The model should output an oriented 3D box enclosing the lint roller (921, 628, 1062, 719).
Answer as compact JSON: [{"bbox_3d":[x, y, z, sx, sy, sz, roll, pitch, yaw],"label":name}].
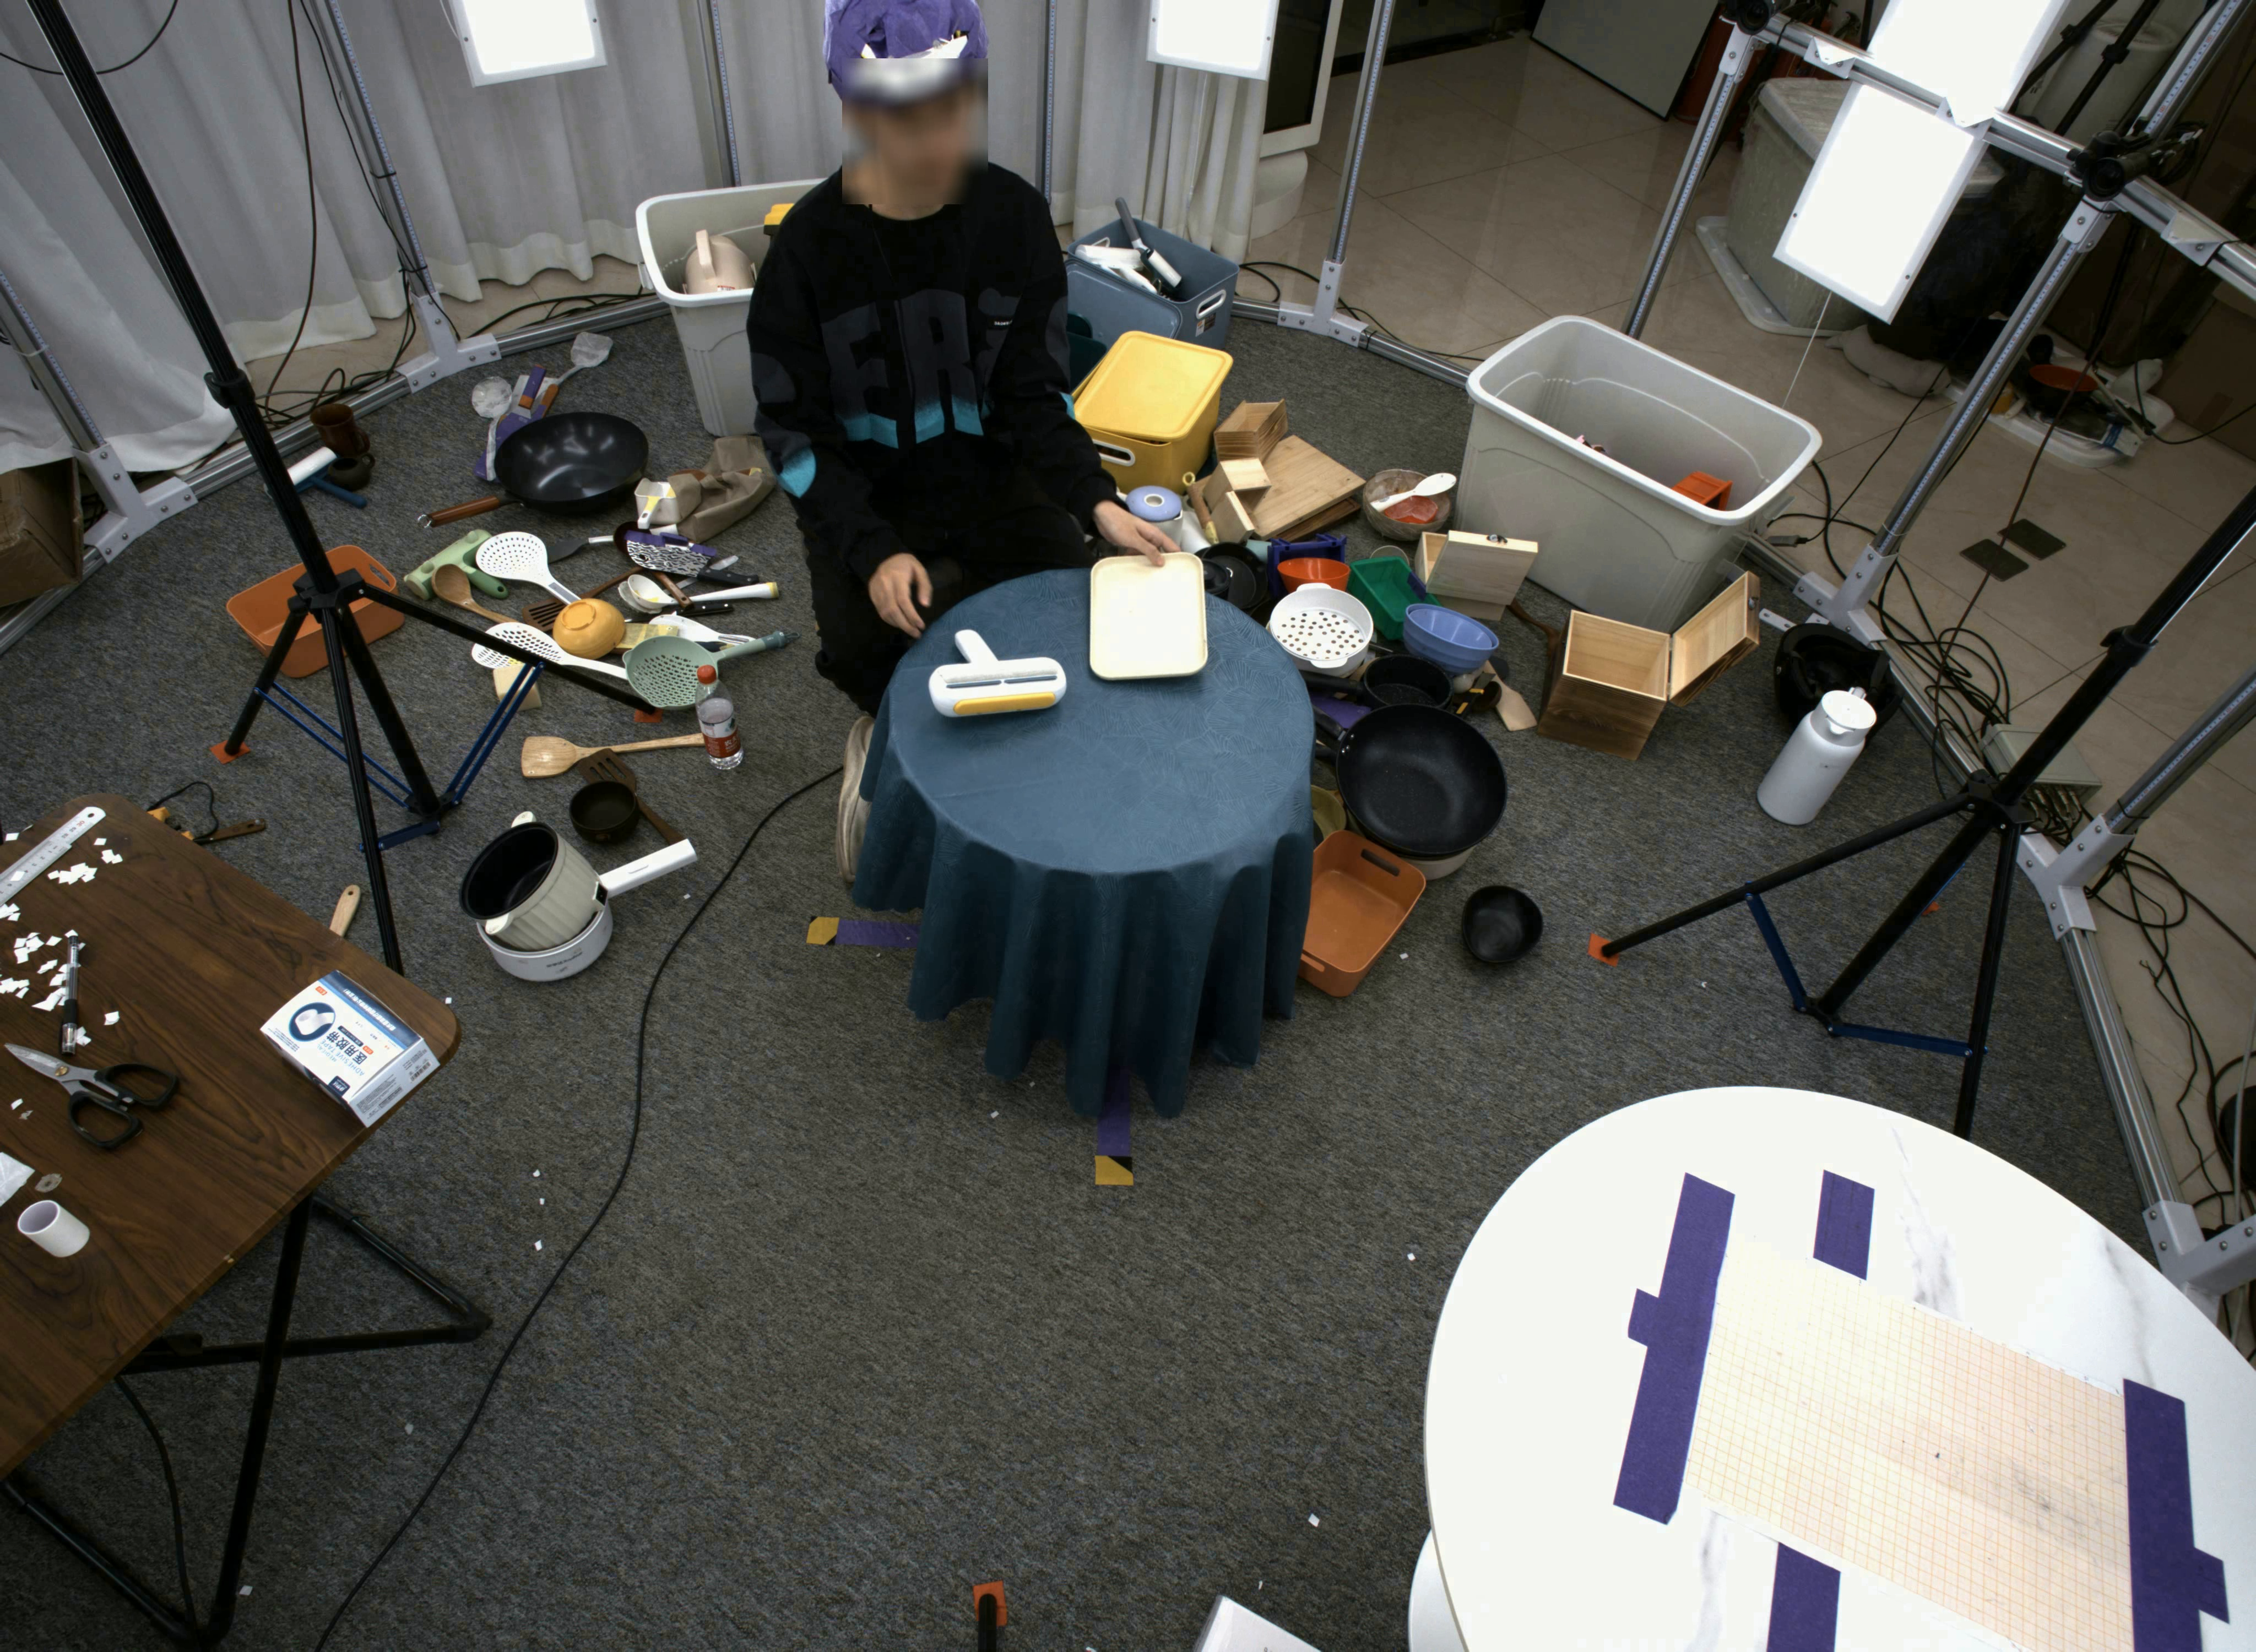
[{"bbox_3d":[-0.204,-0.228,1.809,0.192,0.072,0.197,-8,49,-17],"label":"lint roller"}]

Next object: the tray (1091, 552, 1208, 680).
[{"bbox_3d":[0.030,-0.311,1.902,0.171,0.017,0.245,-4,54,6],"label":"tray"}]
